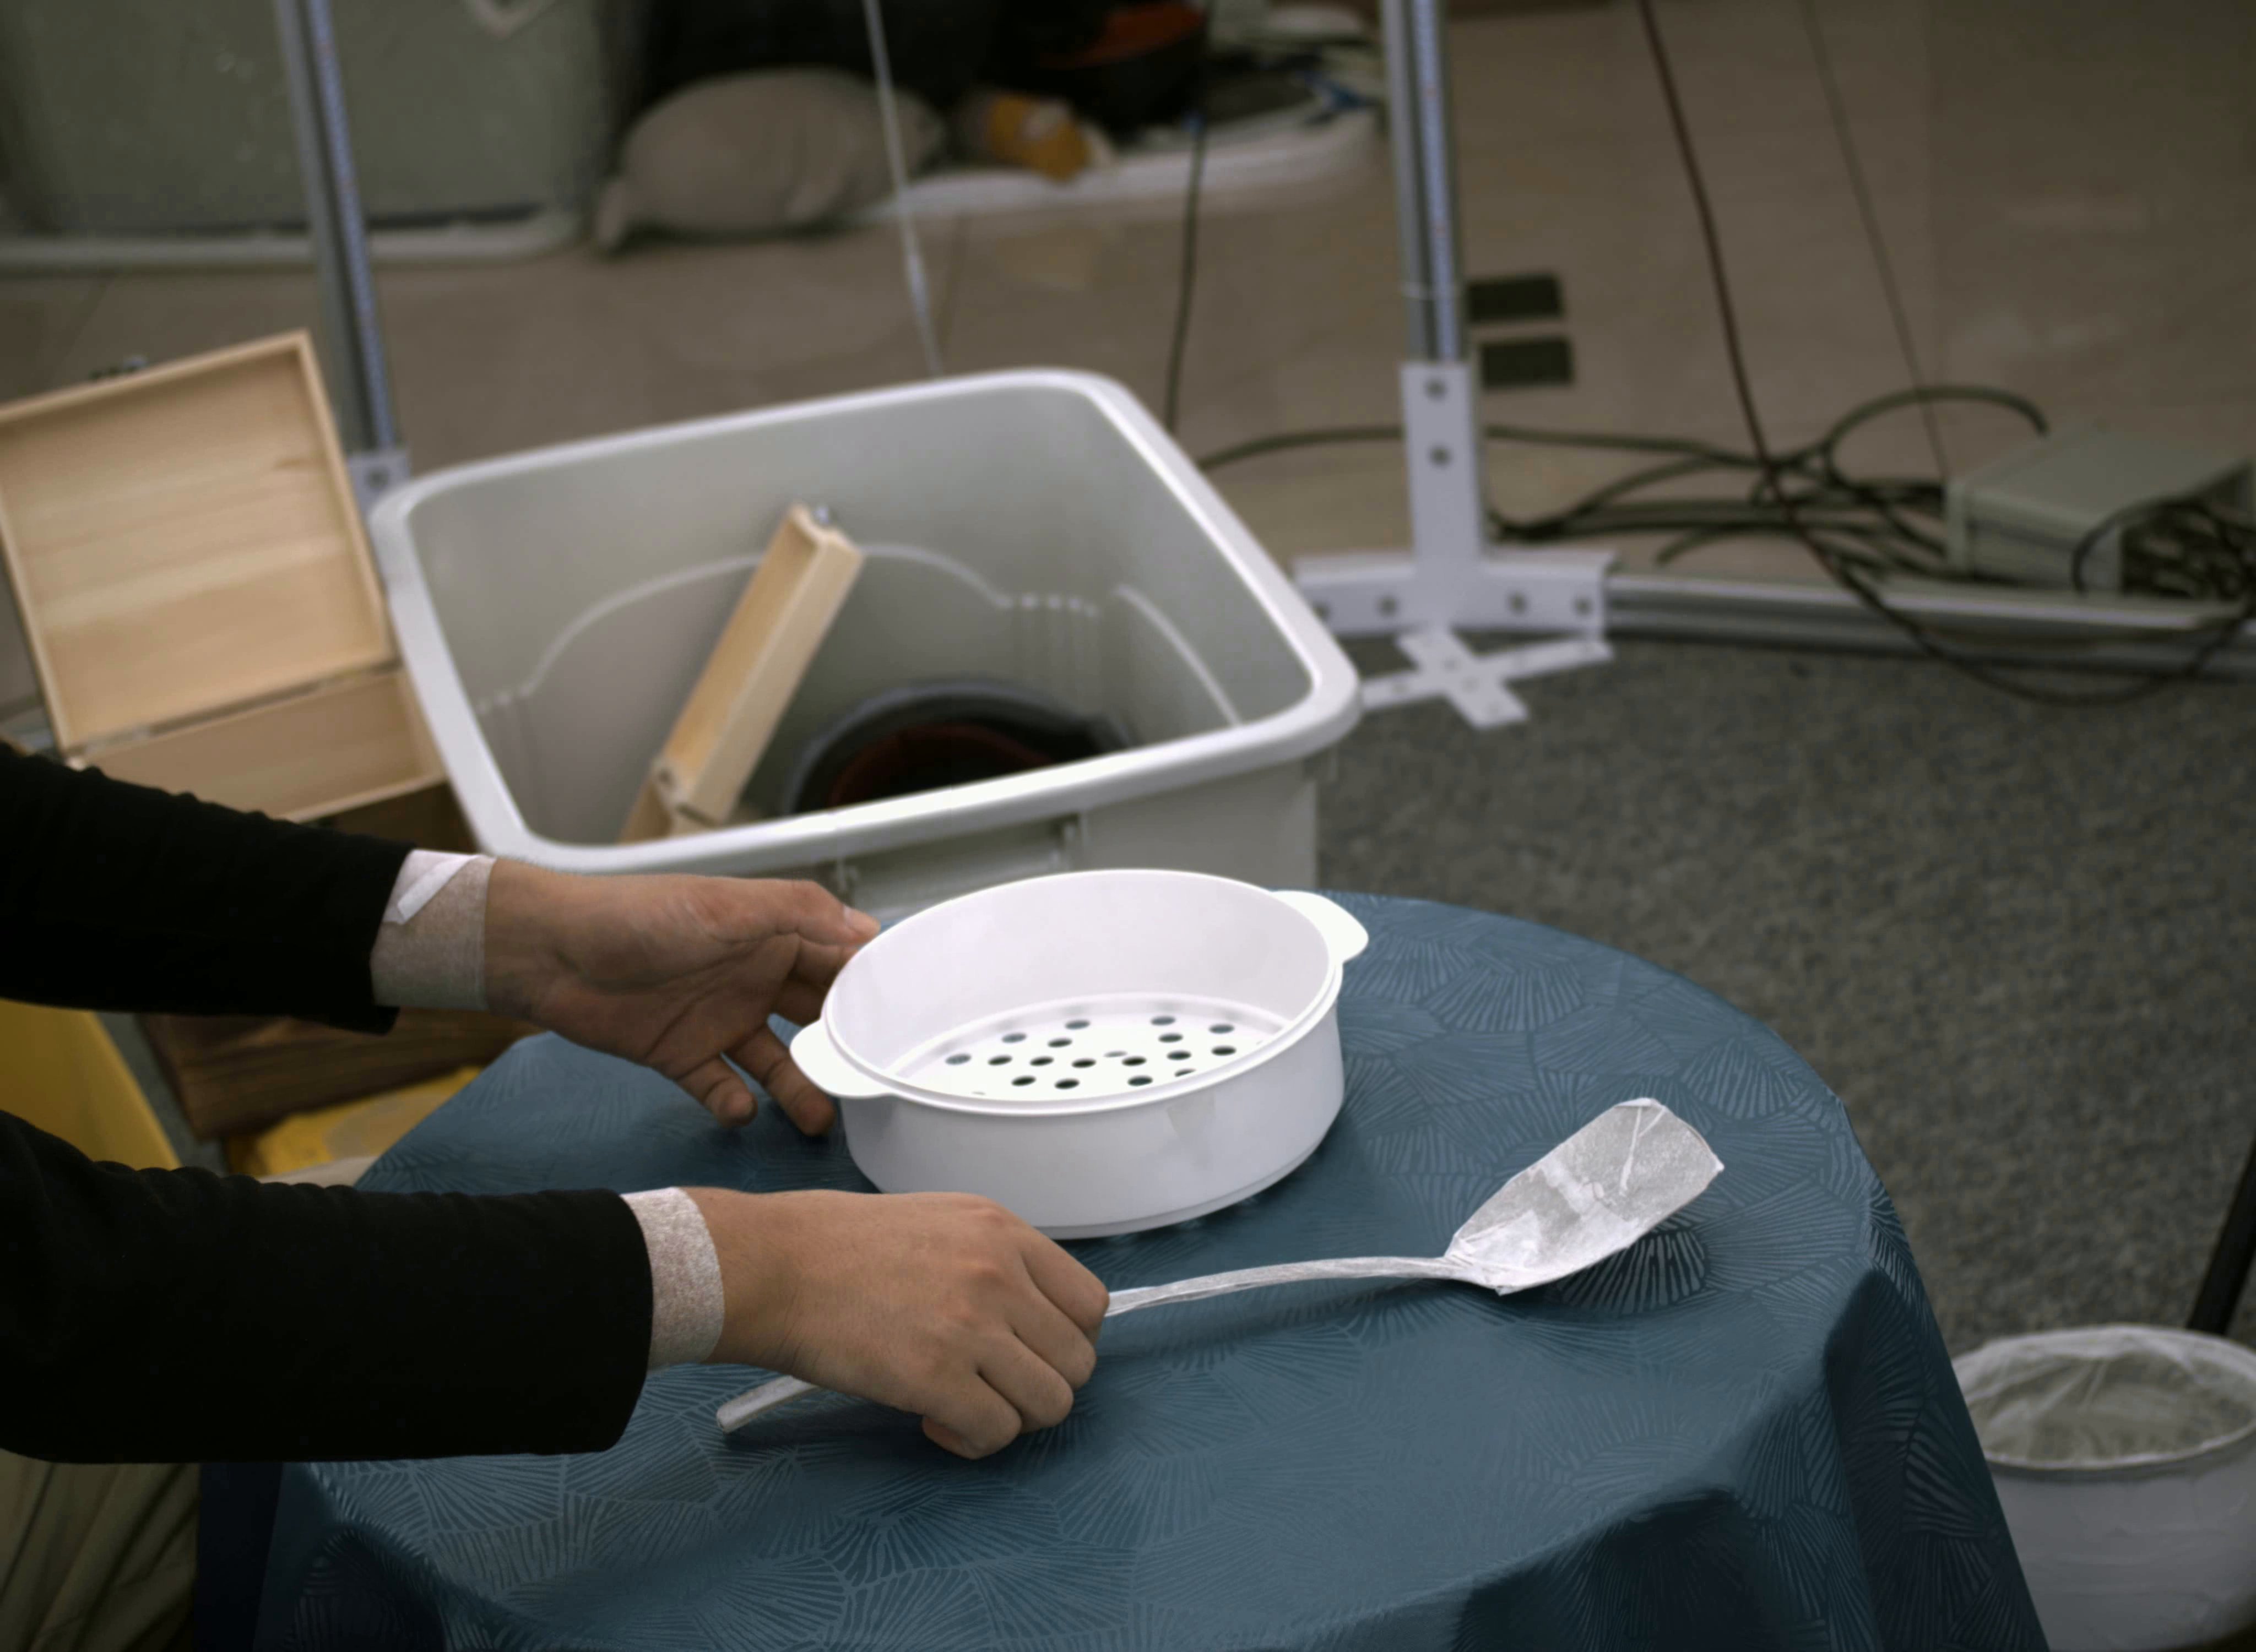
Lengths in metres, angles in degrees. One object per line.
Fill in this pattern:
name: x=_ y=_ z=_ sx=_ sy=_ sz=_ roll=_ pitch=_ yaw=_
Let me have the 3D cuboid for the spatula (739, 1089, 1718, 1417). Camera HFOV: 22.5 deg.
spatula: x=0.036 y=0.161 z=2.045 sx=0.364 sy=0.045 sz=0.097 roll=-11 pitch=21 yaw=-9

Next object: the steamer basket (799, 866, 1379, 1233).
steamer basket: x=-0.010 y=0.087 z=2.179 sx=0.229 sy=0.070 sz=0.199 roll=-16 pitch=26 yaw=-18
